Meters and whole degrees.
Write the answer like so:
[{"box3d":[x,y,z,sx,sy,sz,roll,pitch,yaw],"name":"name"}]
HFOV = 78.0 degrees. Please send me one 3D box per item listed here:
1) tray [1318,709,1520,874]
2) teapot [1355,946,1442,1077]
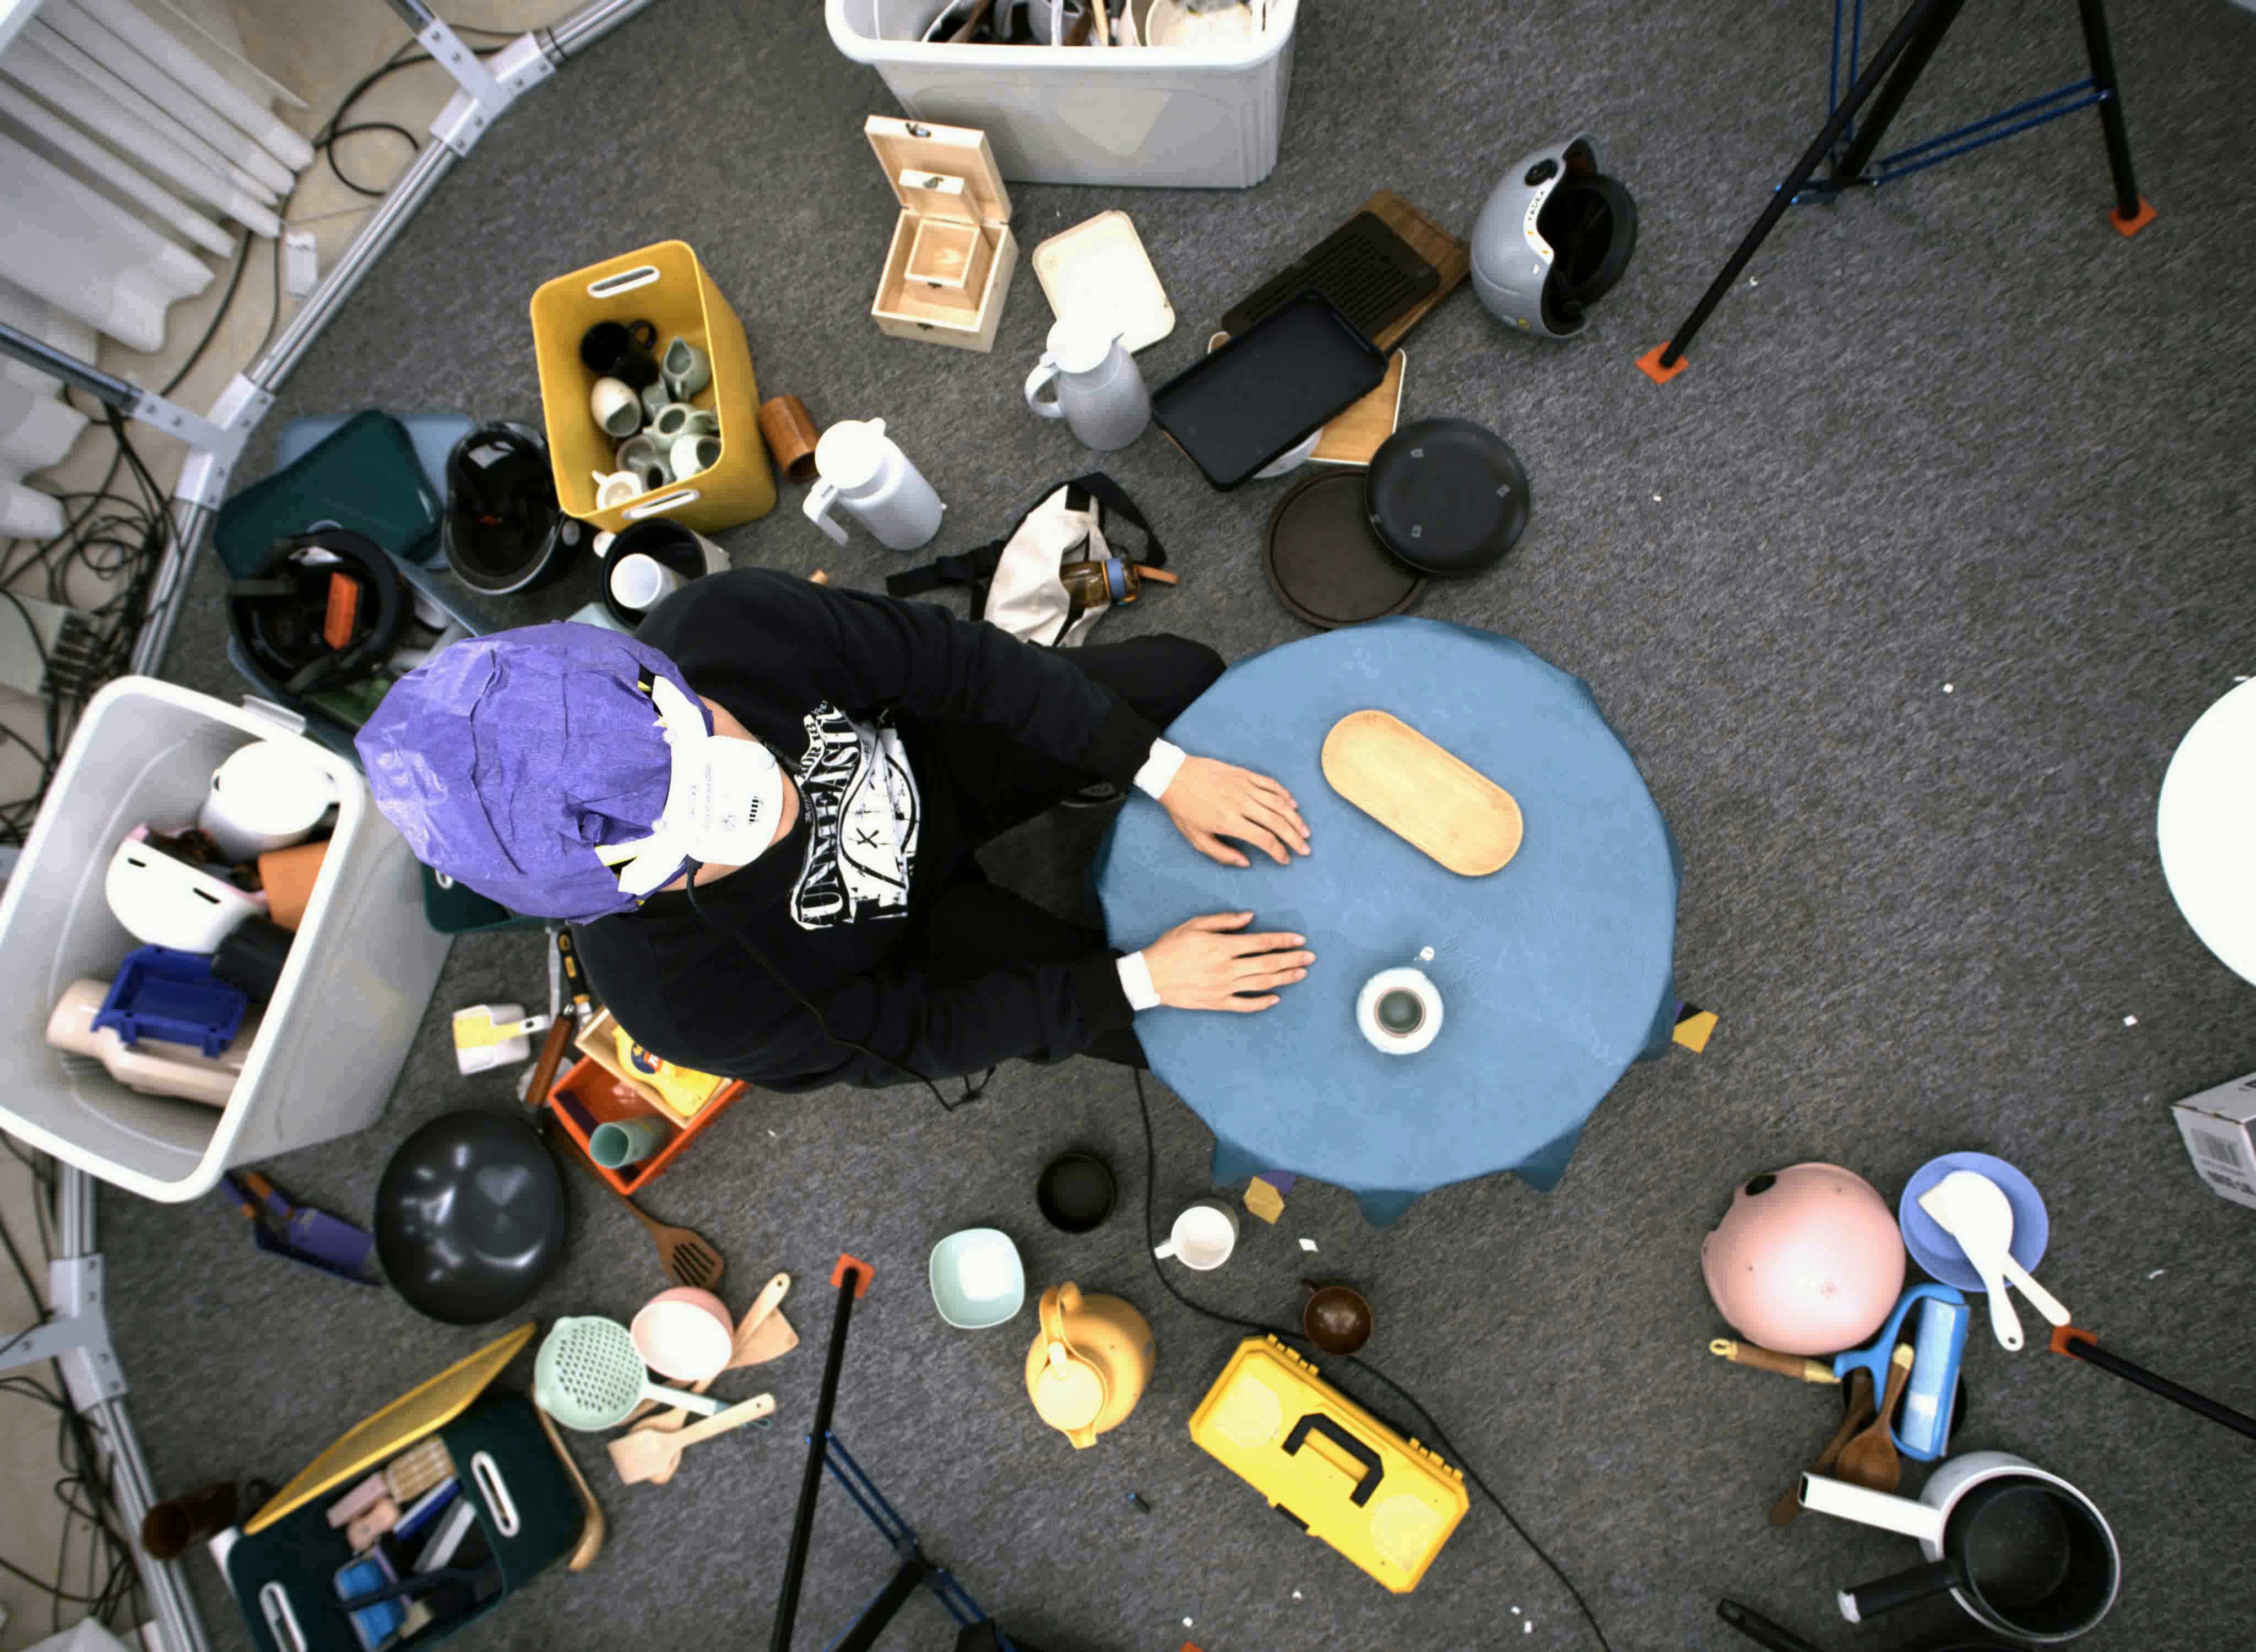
[{"box3d":[0.306,-0.038,1.452,0.230,0.020,0.102,35,92,12],"name":"tray"},{"box3d":[0.277,0.188,1.417,0.088,0.075,0.144,27,90,11],"name":"teapot"}]
